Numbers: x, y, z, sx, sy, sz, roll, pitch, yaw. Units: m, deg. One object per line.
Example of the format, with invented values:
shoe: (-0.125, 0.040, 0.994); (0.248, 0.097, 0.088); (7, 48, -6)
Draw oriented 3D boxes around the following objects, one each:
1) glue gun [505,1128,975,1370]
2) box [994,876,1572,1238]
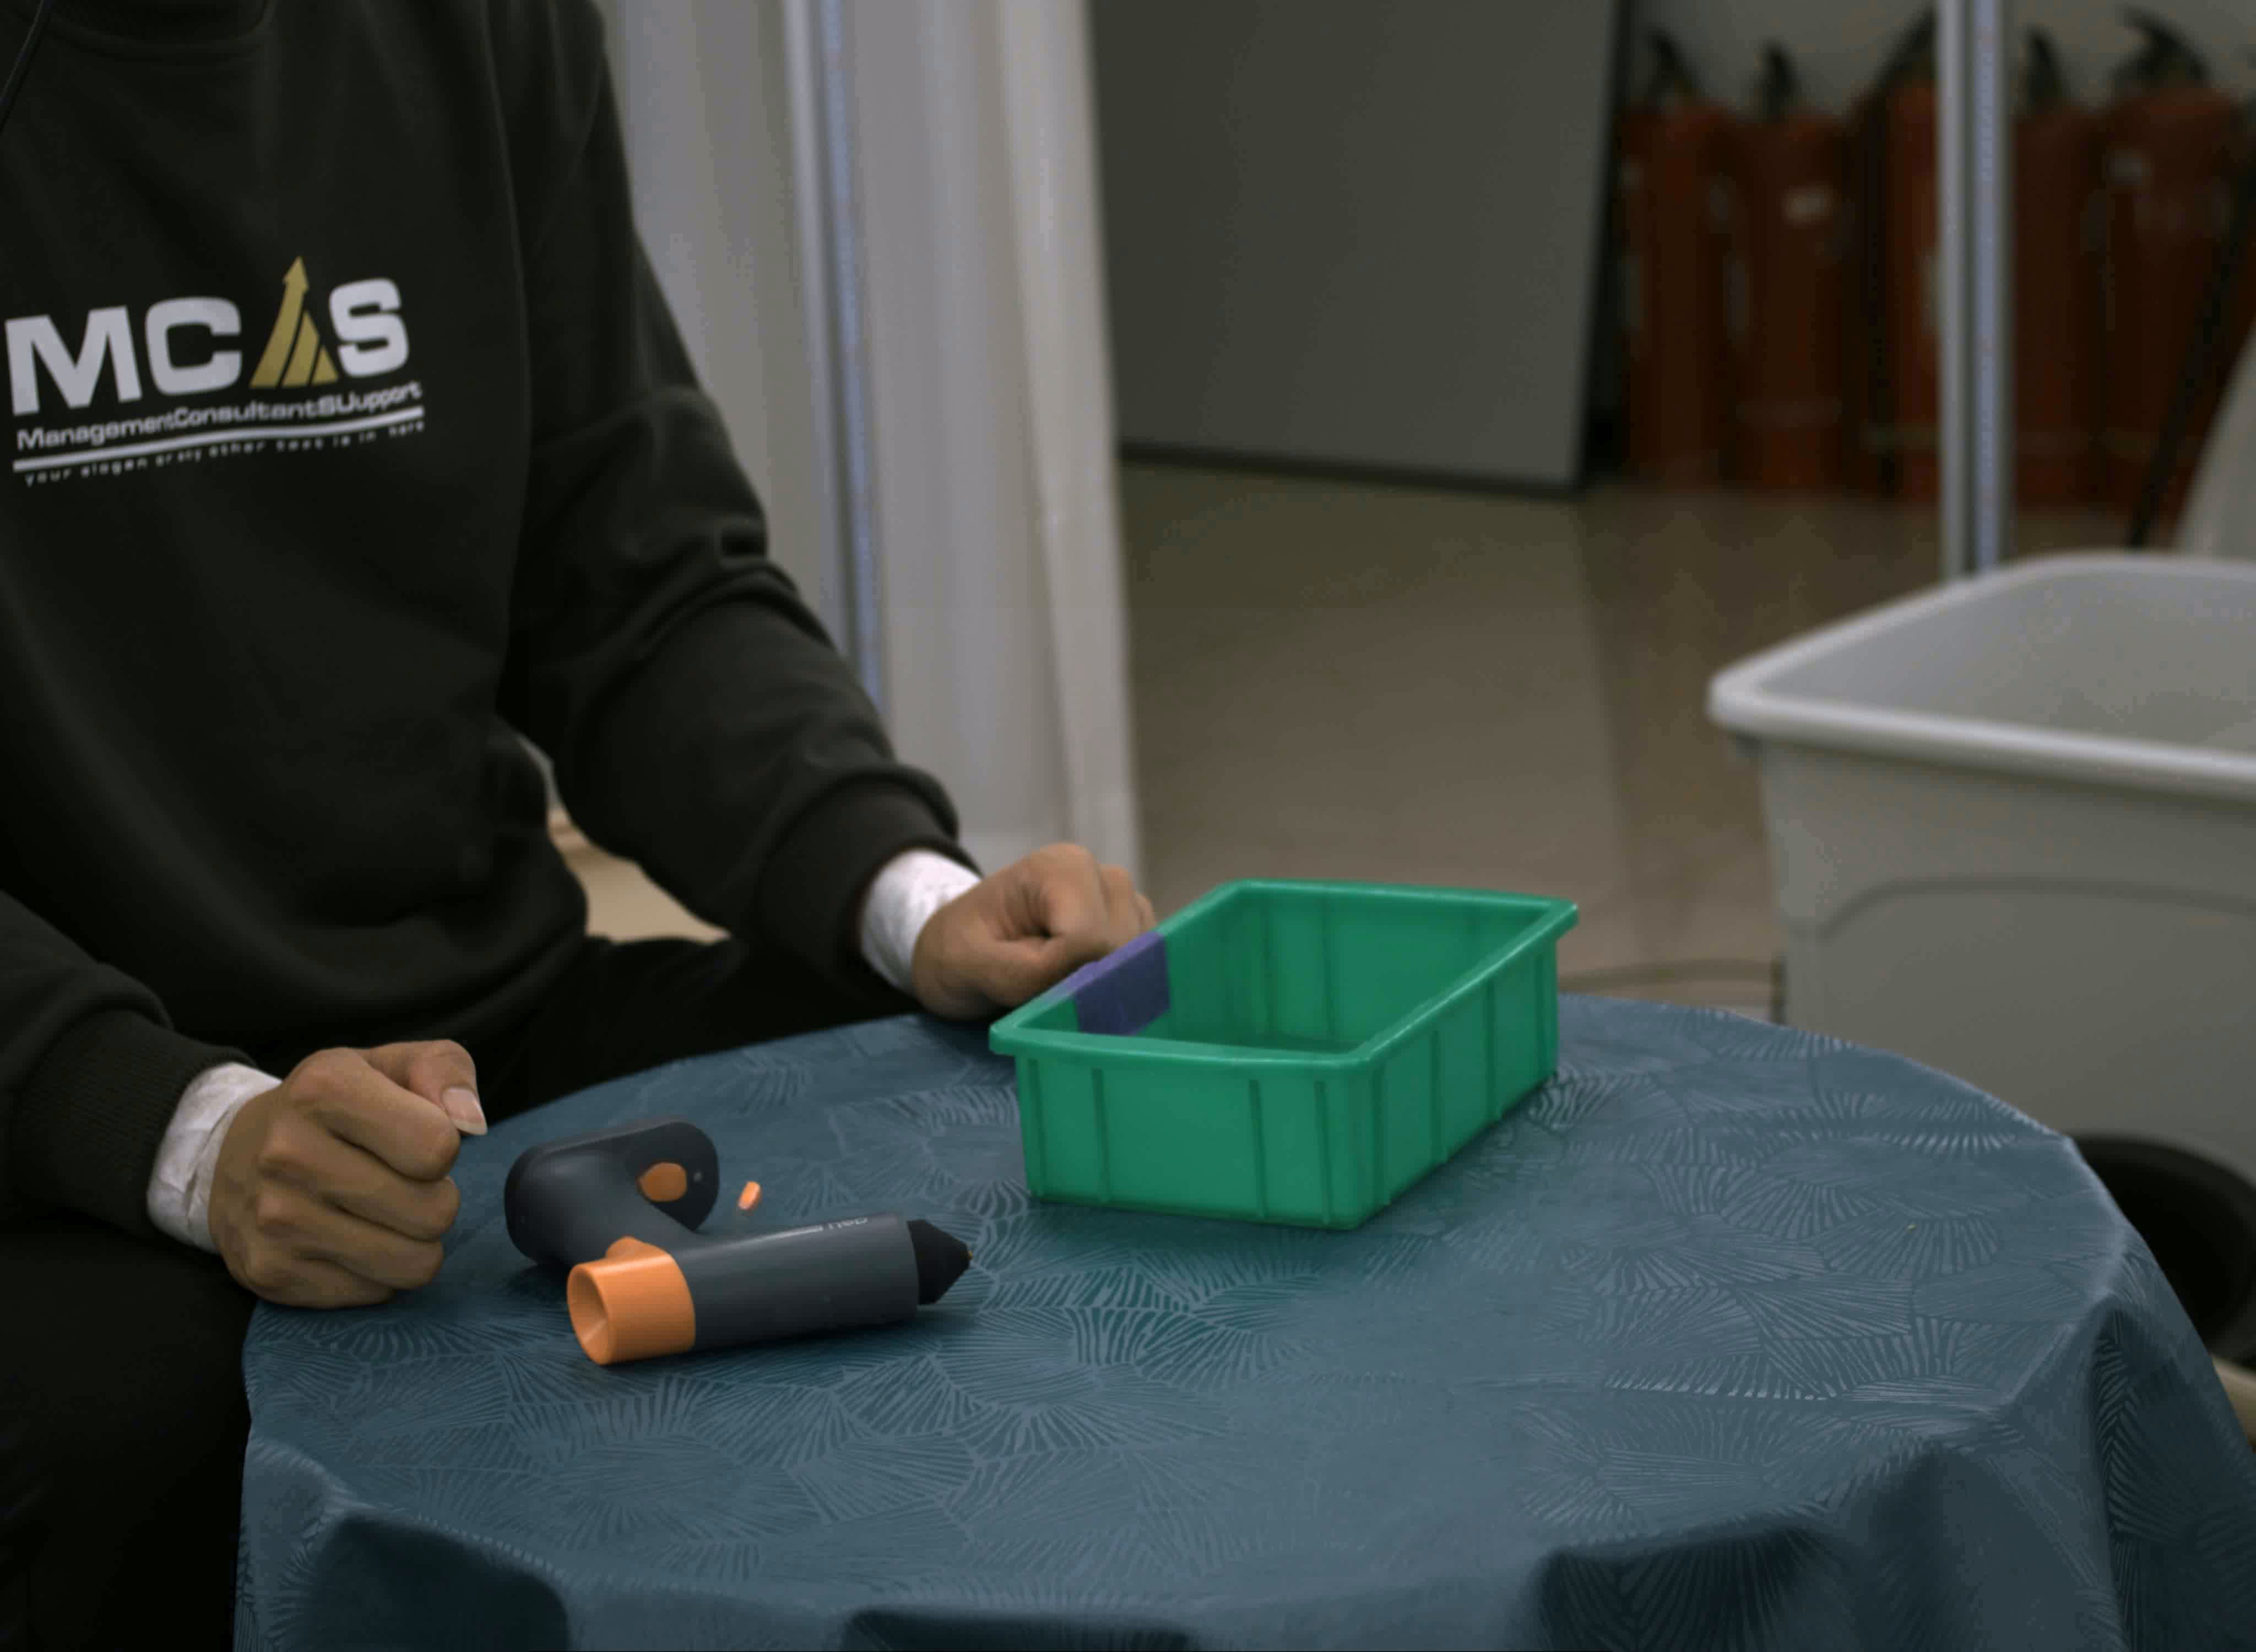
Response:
glue gun: (-0.128, 0.135, 1.697); (0.115, 0.041, 0.141); (-10, 17, -30)
box: (0.057, 0.076, 1.815); (0.139, 0.066, 0.208); (2, 17, 26)
